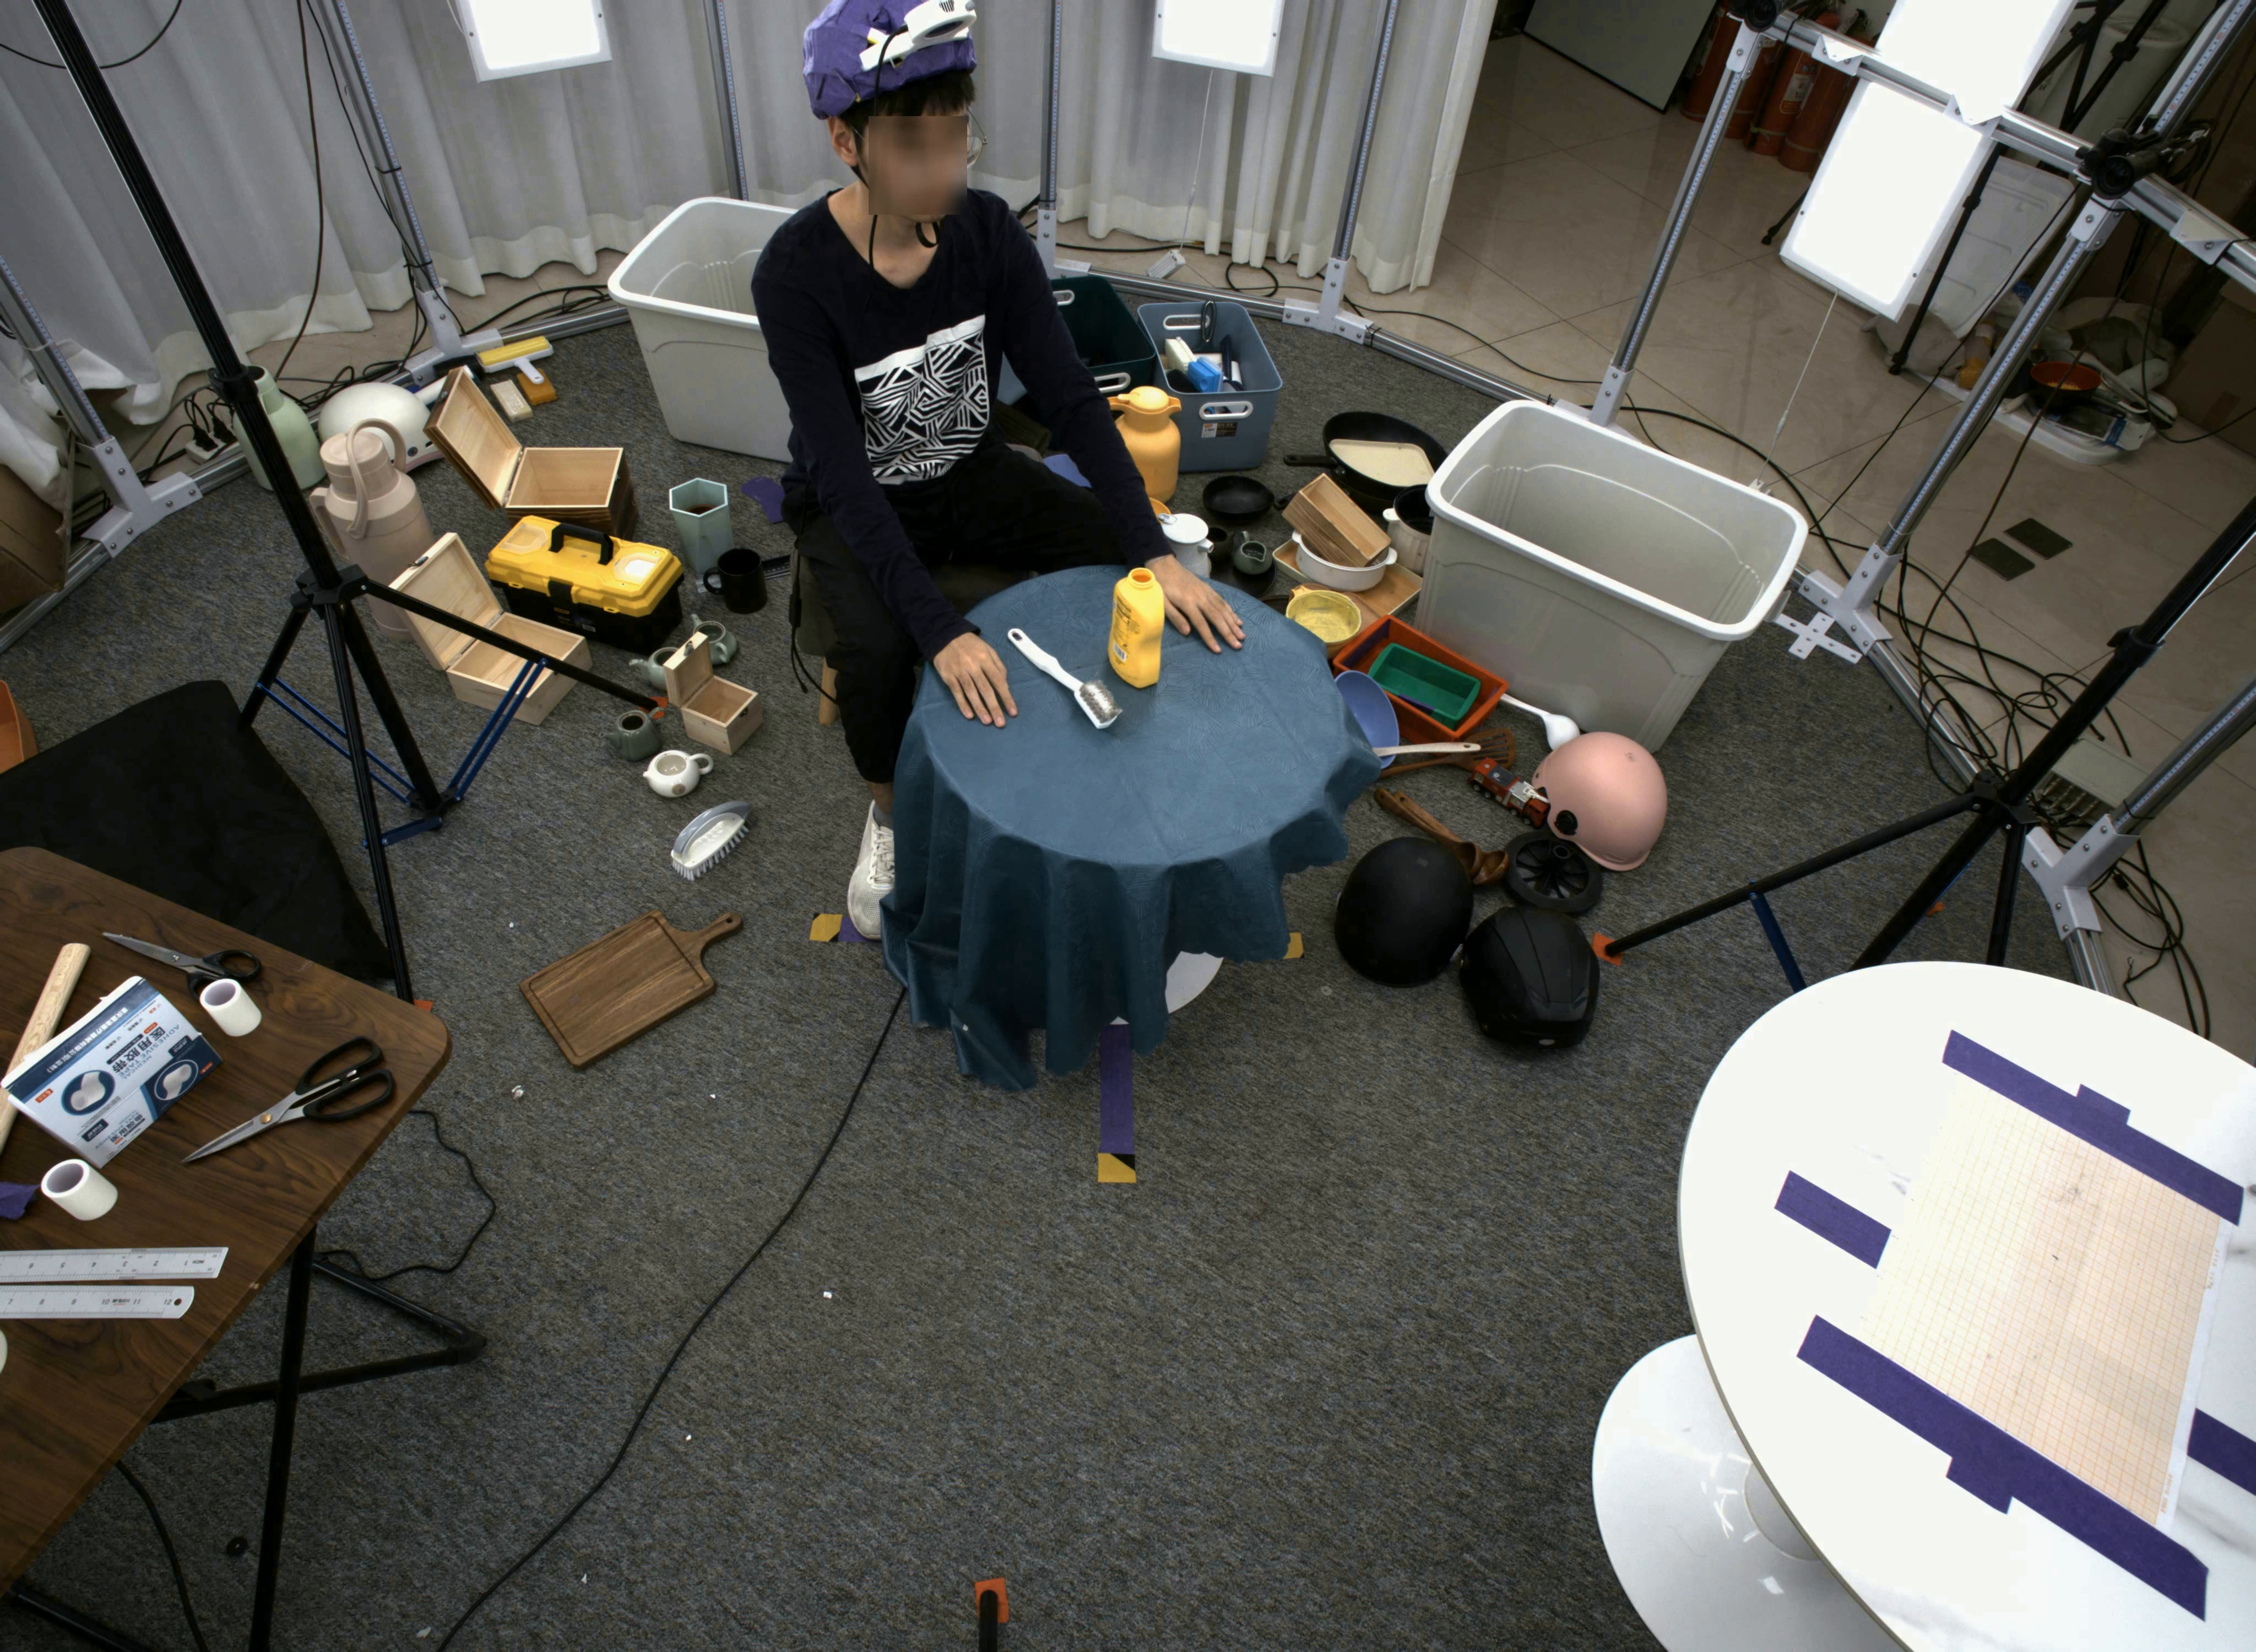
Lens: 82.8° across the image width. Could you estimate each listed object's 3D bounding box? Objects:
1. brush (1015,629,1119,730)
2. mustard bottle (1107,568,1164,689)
[{"bbox_3d":[-0.092,-0.223,1.827,0.034,0.049,0.248,-28,55,-20],"label":"brush"},{"bbox_3d":[0.011,-0.285,1.806,0.059,0.168,0.100,-24,52,-26],"label":"mustard bottle"}]
